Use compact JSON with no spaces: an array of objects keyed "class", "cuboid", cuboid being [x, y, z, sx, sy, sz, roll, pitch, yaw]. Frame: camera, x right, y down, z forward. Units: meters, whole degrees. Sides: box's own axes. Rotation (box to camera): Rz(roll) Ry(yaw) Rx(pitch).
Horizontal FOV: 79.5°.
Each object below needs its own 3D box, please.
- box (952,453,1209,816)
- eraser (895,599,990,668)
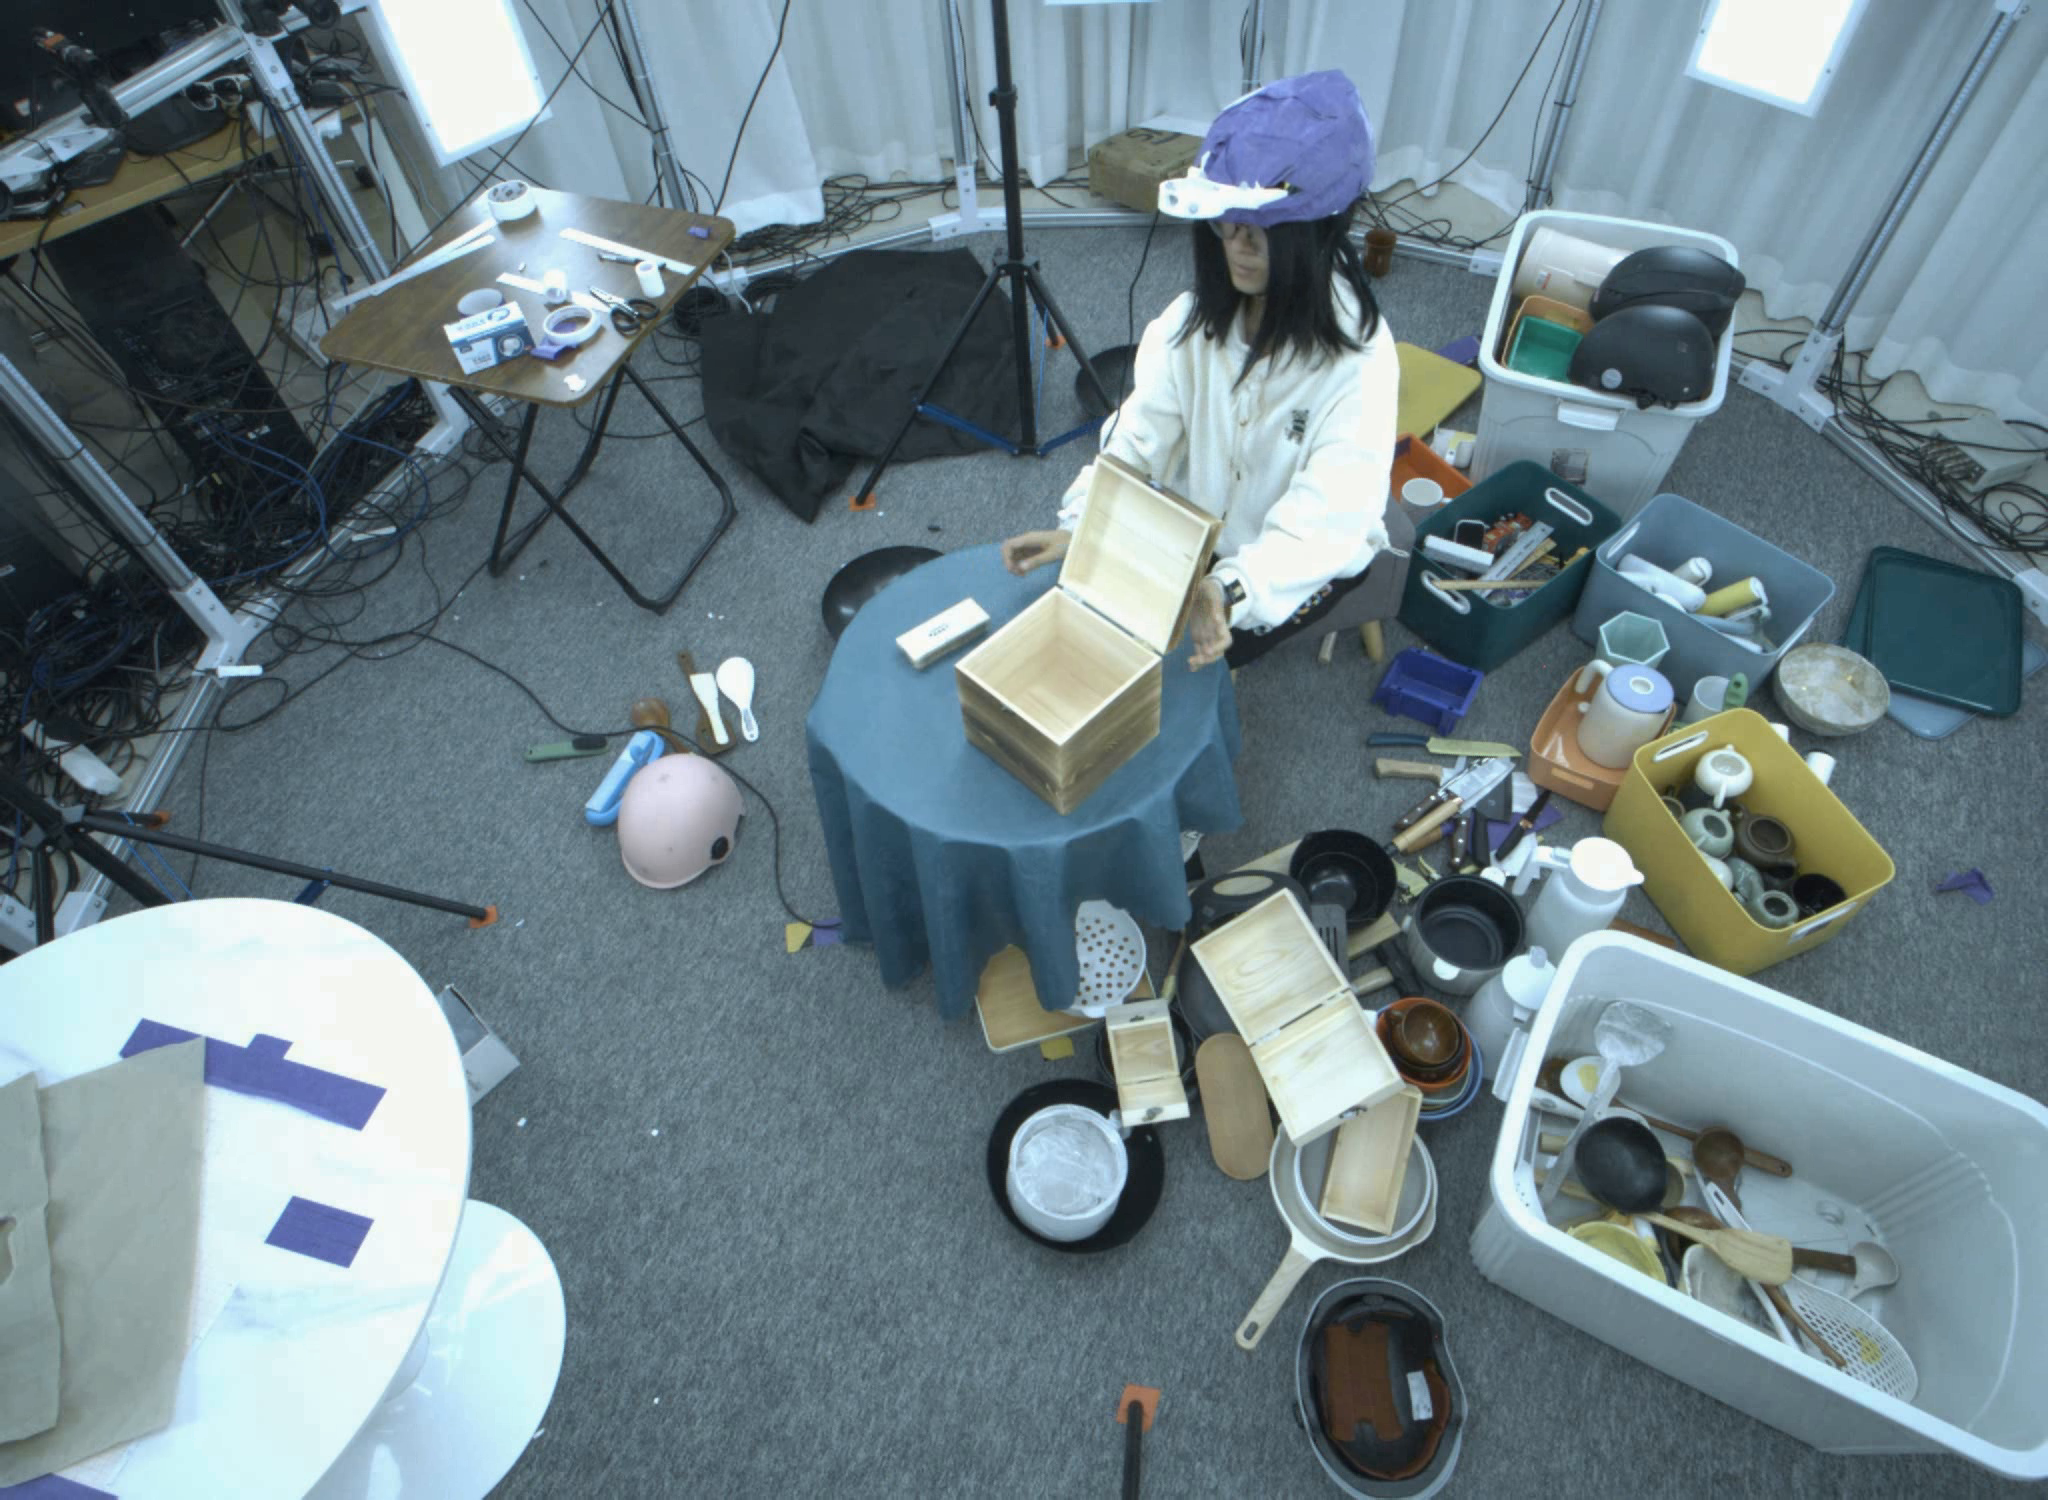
[{"class":"box","cuboid":[0.077,-0.159,1.673,0.205,0.380,0.324,36,64,26]},{"class":"eraser","cuboid":[-0.126,-0.181,1.903,0.140,0.029,0.056,-30,56,-19]}]
